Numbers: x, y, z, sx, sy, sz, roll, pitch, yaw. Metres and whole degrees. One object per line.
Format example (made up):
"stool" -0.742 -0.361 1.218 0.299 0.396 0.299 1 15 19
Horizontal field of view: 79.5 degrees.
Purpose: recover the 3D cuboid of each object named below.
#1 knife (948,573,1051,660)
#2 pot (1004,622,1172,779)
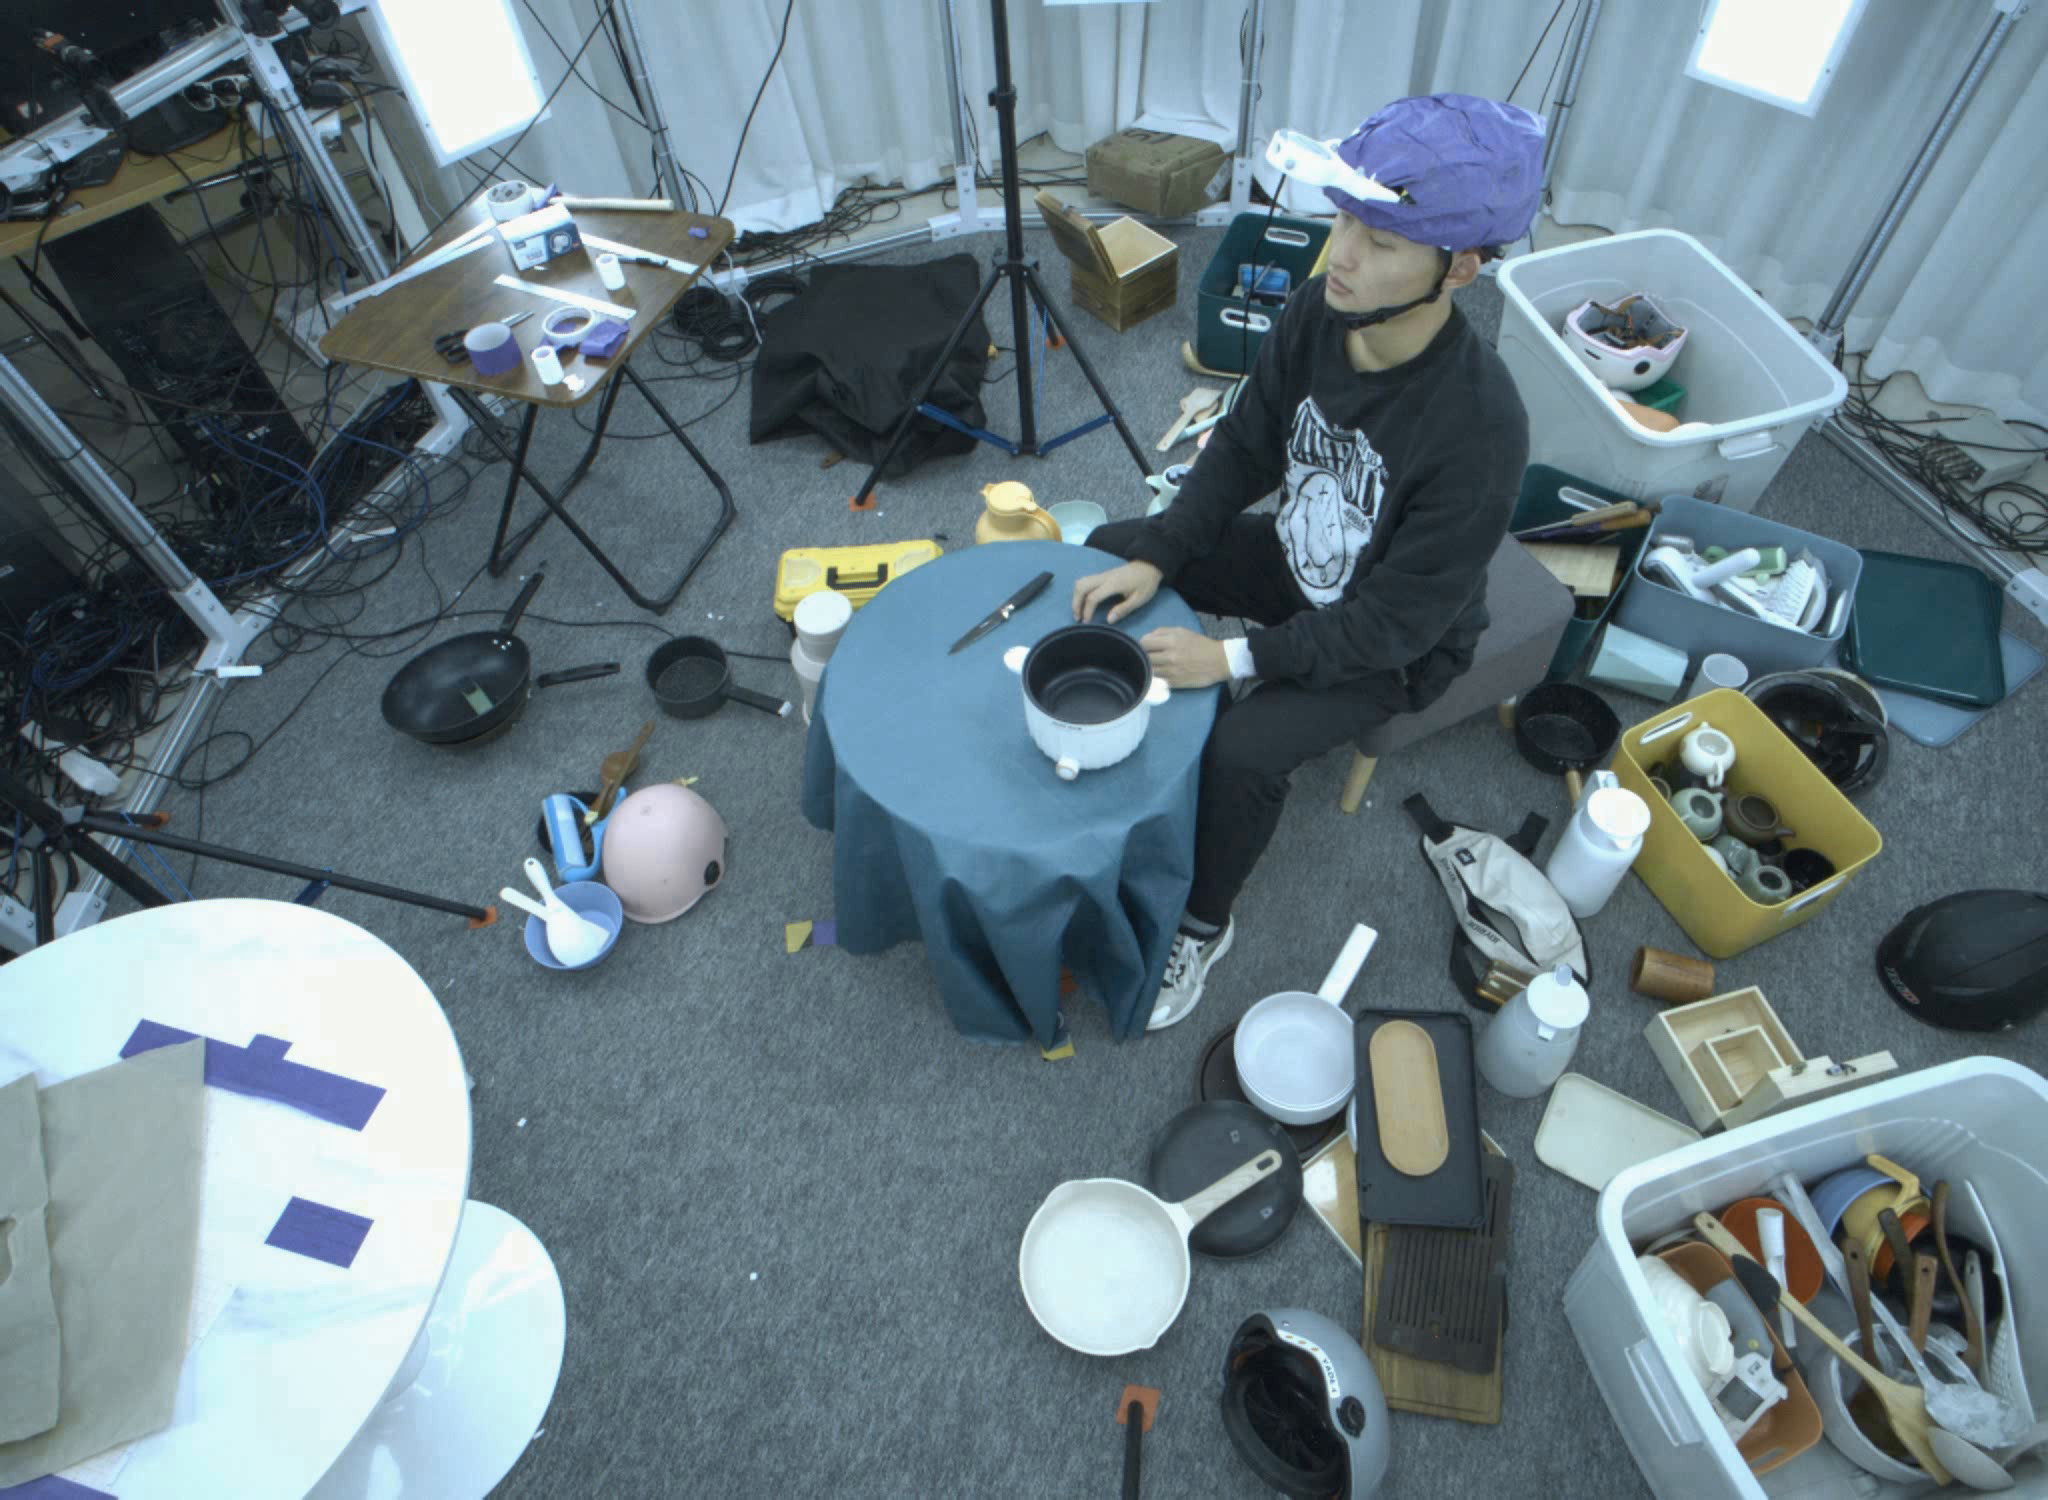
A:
"knife" -0.040 -0.211 1.930 0.227 0.017 0.026 -40 78 -22
"pot" 0.089 -0.065 1.741 0.238 0.144 0.190 13 53 13
